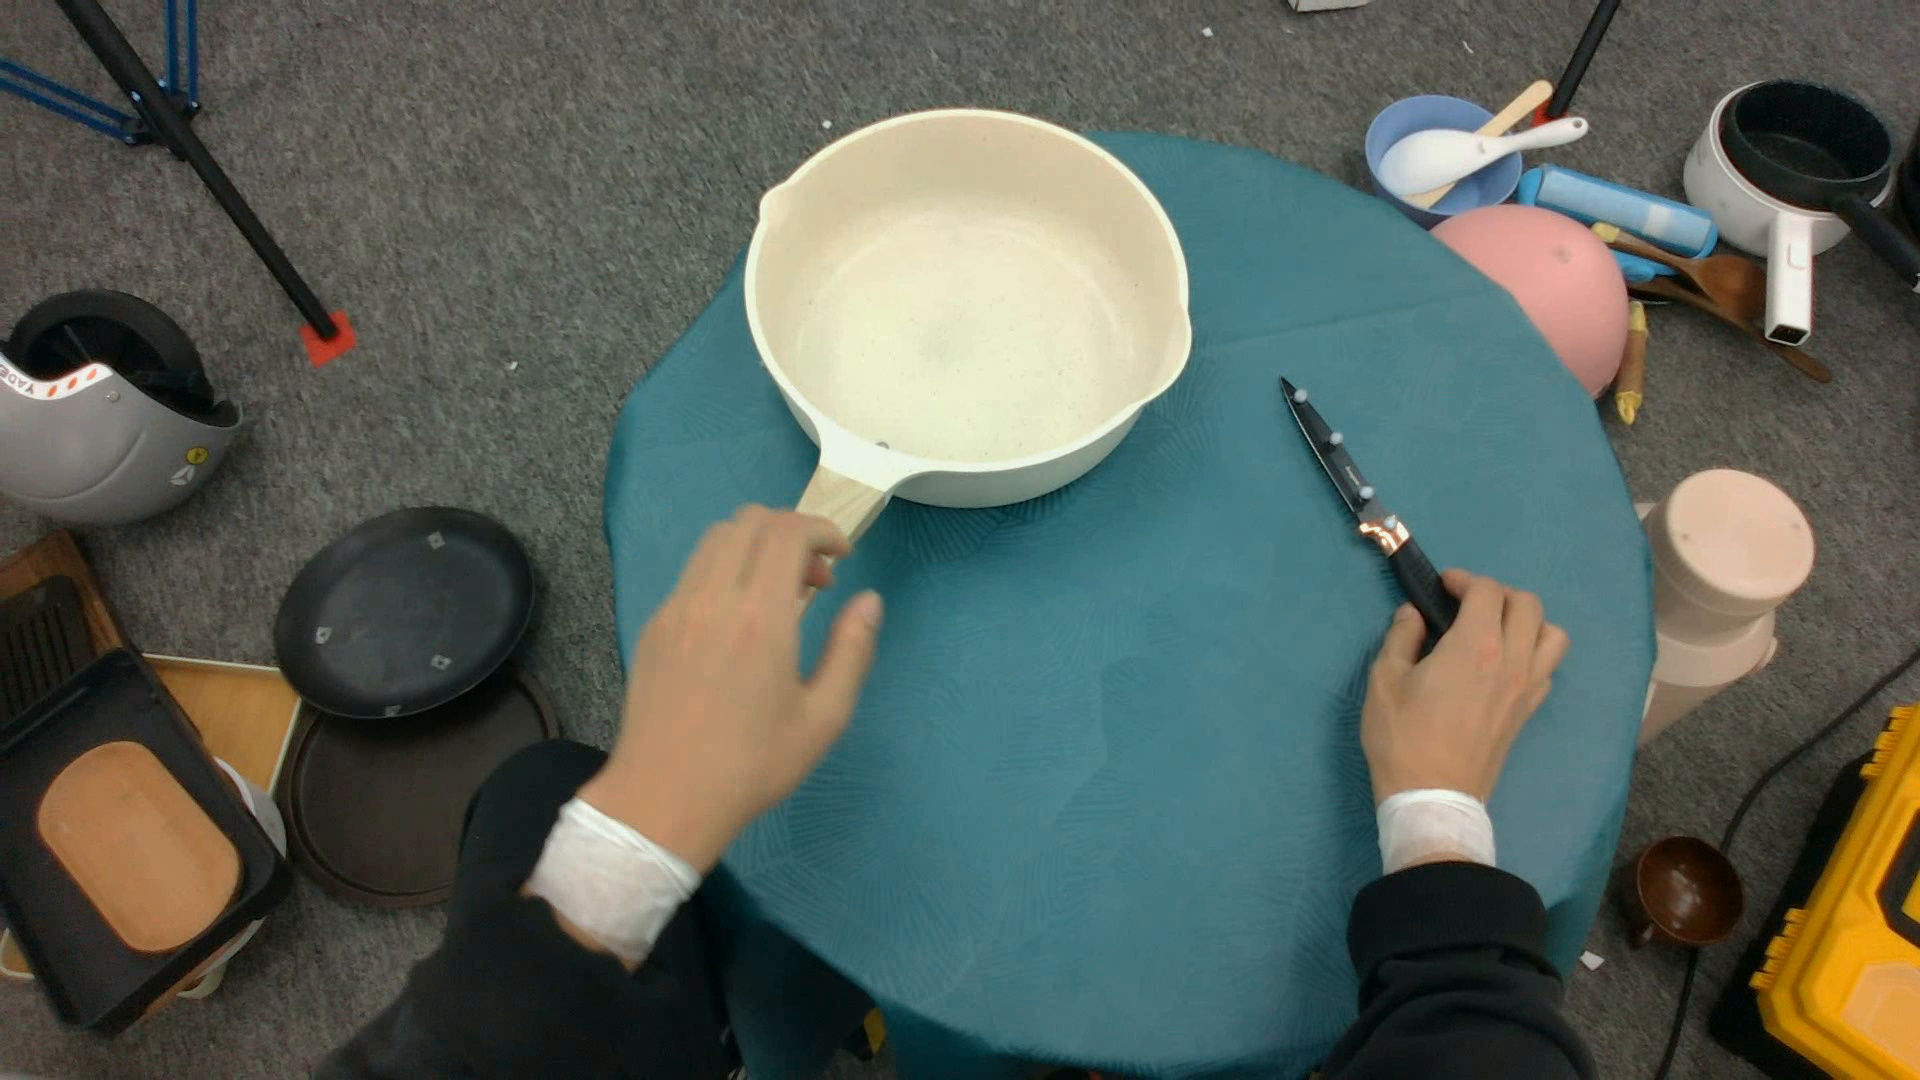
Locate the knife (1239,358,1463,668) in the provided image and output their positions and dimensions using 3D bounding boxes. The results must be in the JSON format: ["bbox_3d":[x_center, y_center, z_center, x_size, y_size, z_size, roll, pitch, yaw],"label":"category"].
[{"bbox_3d":[0.225,-0.022,0.805,0.026,0.017,0.226,-20,65,-15],"label":"knife"}]

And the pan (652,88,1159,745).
[{"bbox_3d":[-0.052,-0.070,0.768,0.263,0.101,0.436,23,65,7],"label":"pan"}]
